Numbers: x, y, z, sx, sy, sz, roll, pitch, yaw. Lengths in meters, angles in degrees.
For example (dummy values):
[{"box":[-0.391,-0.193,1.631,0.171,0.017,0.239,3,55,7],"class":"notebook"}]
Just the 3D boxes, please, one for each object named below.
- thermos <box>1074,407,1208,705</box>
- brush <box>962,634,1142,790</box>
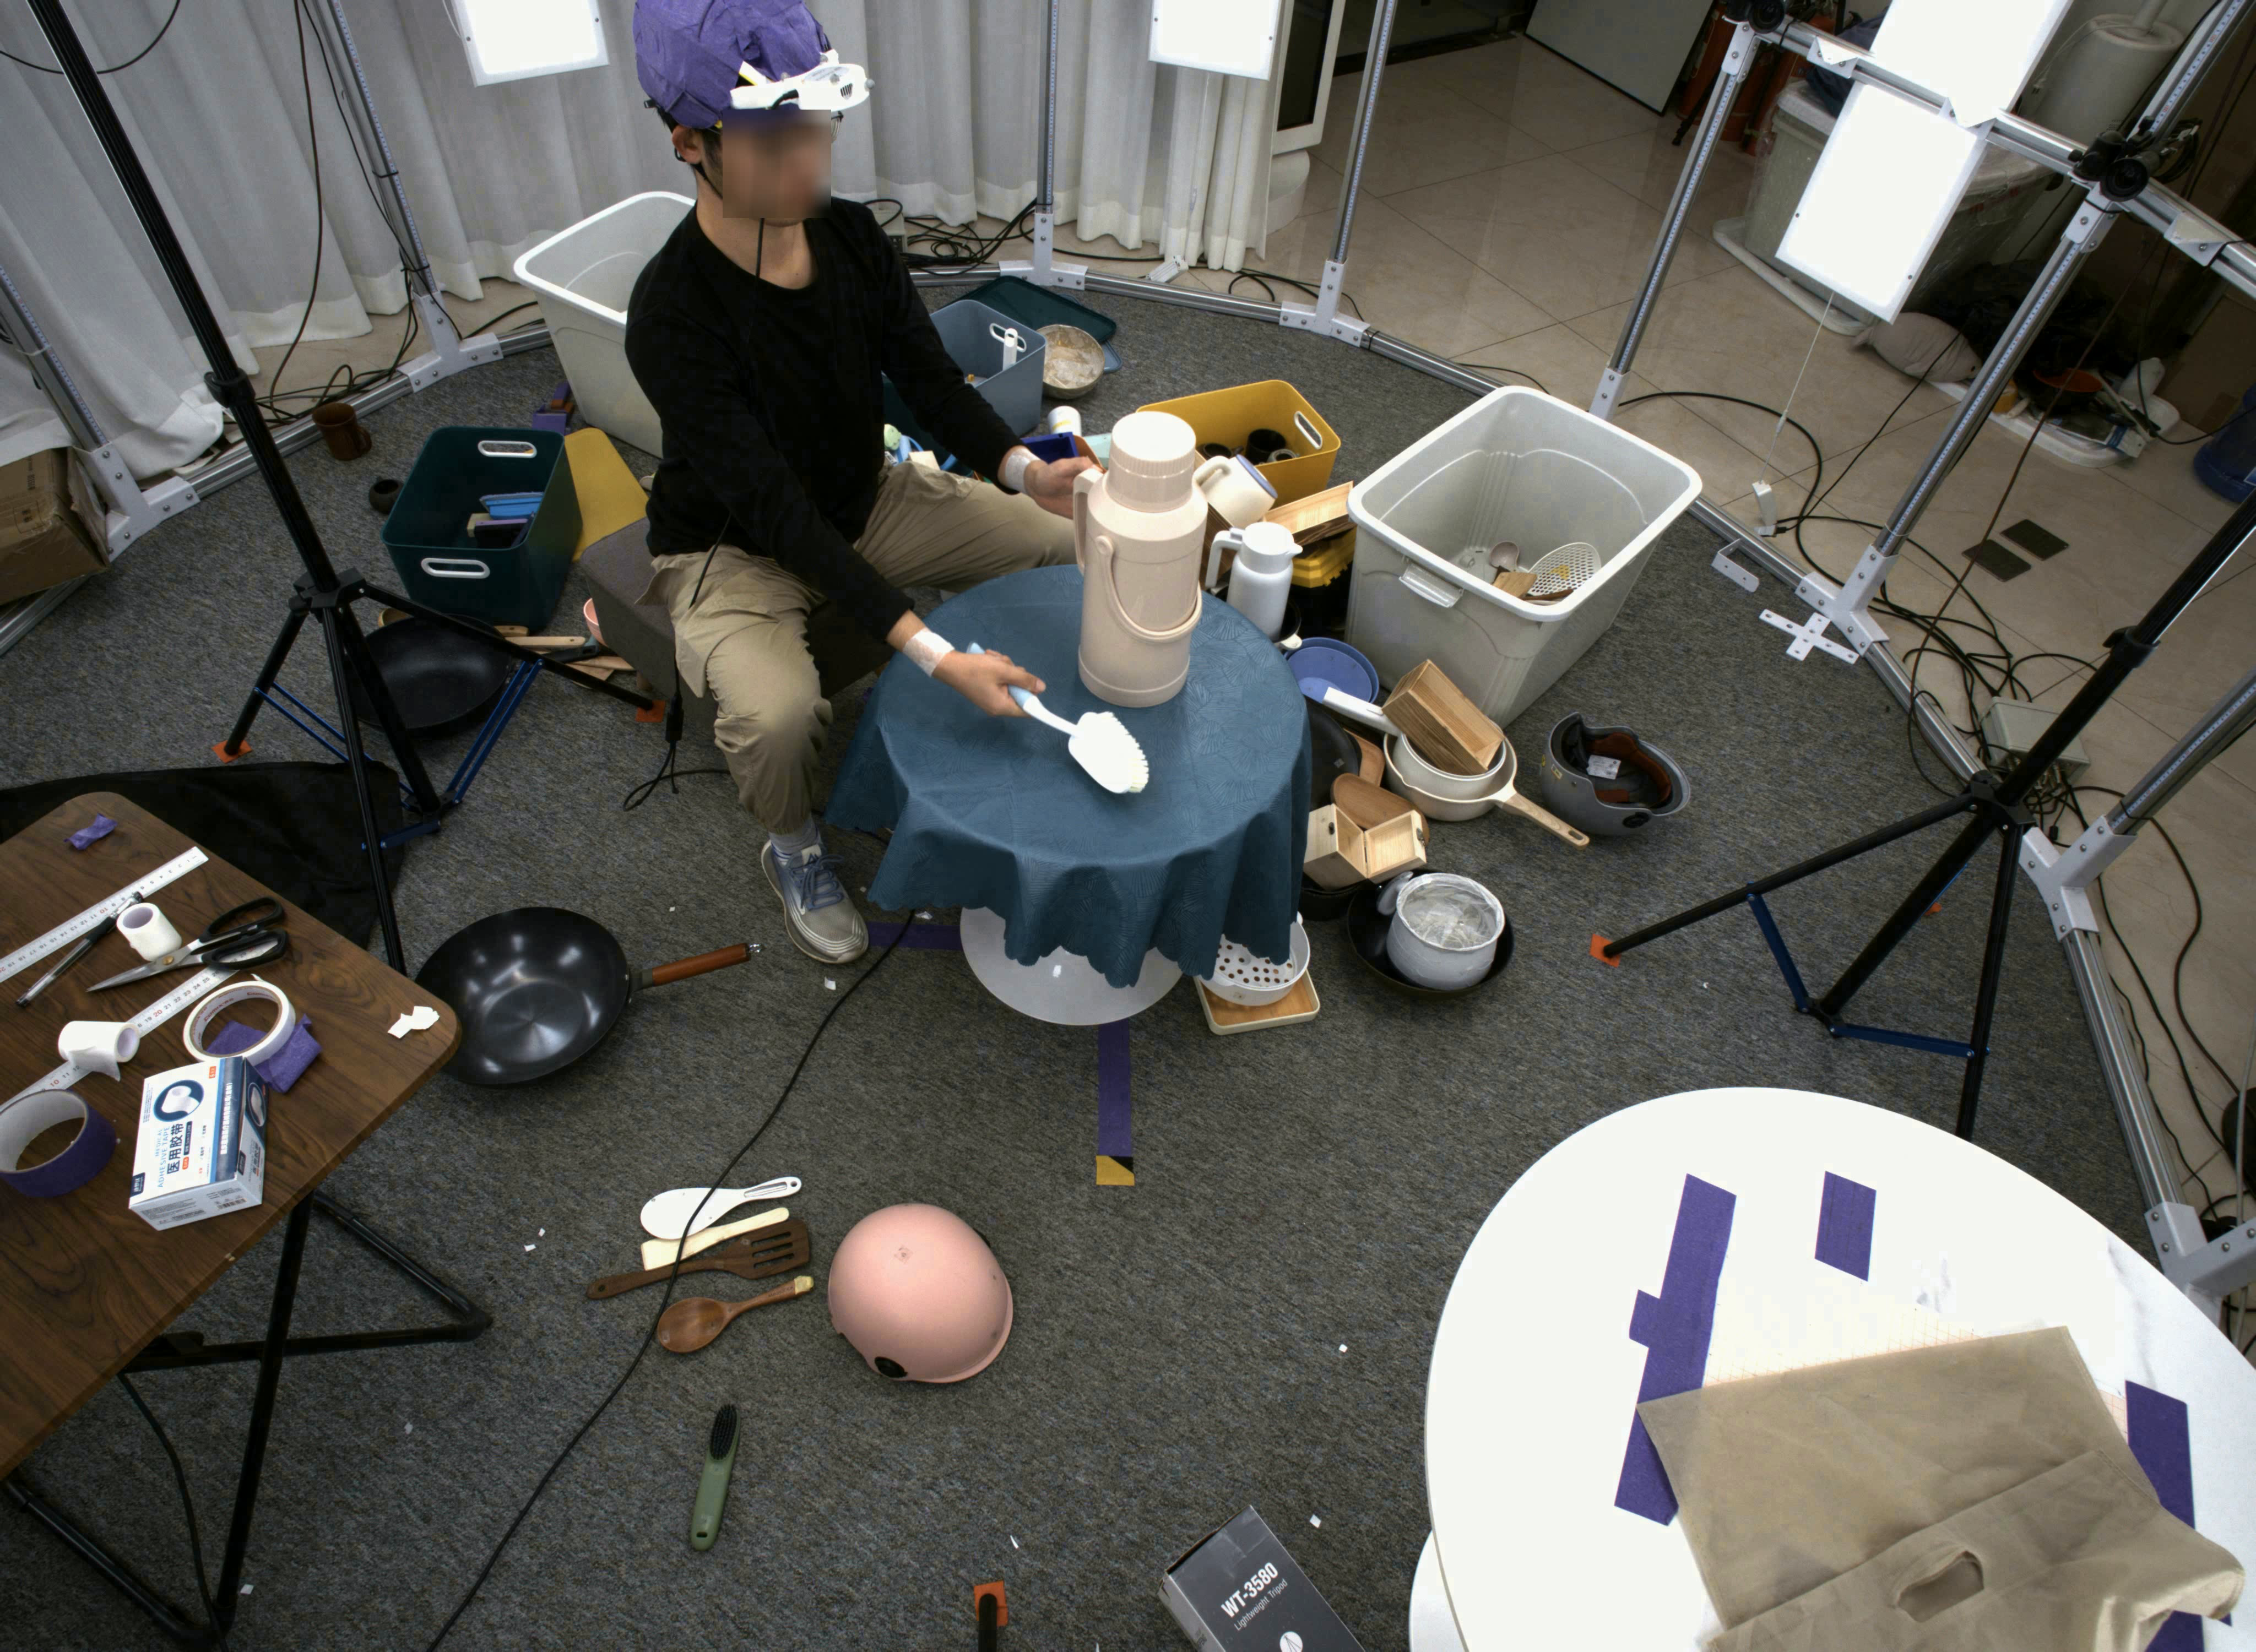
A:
[{"box":[0.010,-0.364,1.731,0.209,0.396,0.177,34,57,22],"class":"thermos"},{"box":[-0.094,-0.162,1.729,0.083,0.083,0.330,-44,68,-7],"class":"brush"}]
